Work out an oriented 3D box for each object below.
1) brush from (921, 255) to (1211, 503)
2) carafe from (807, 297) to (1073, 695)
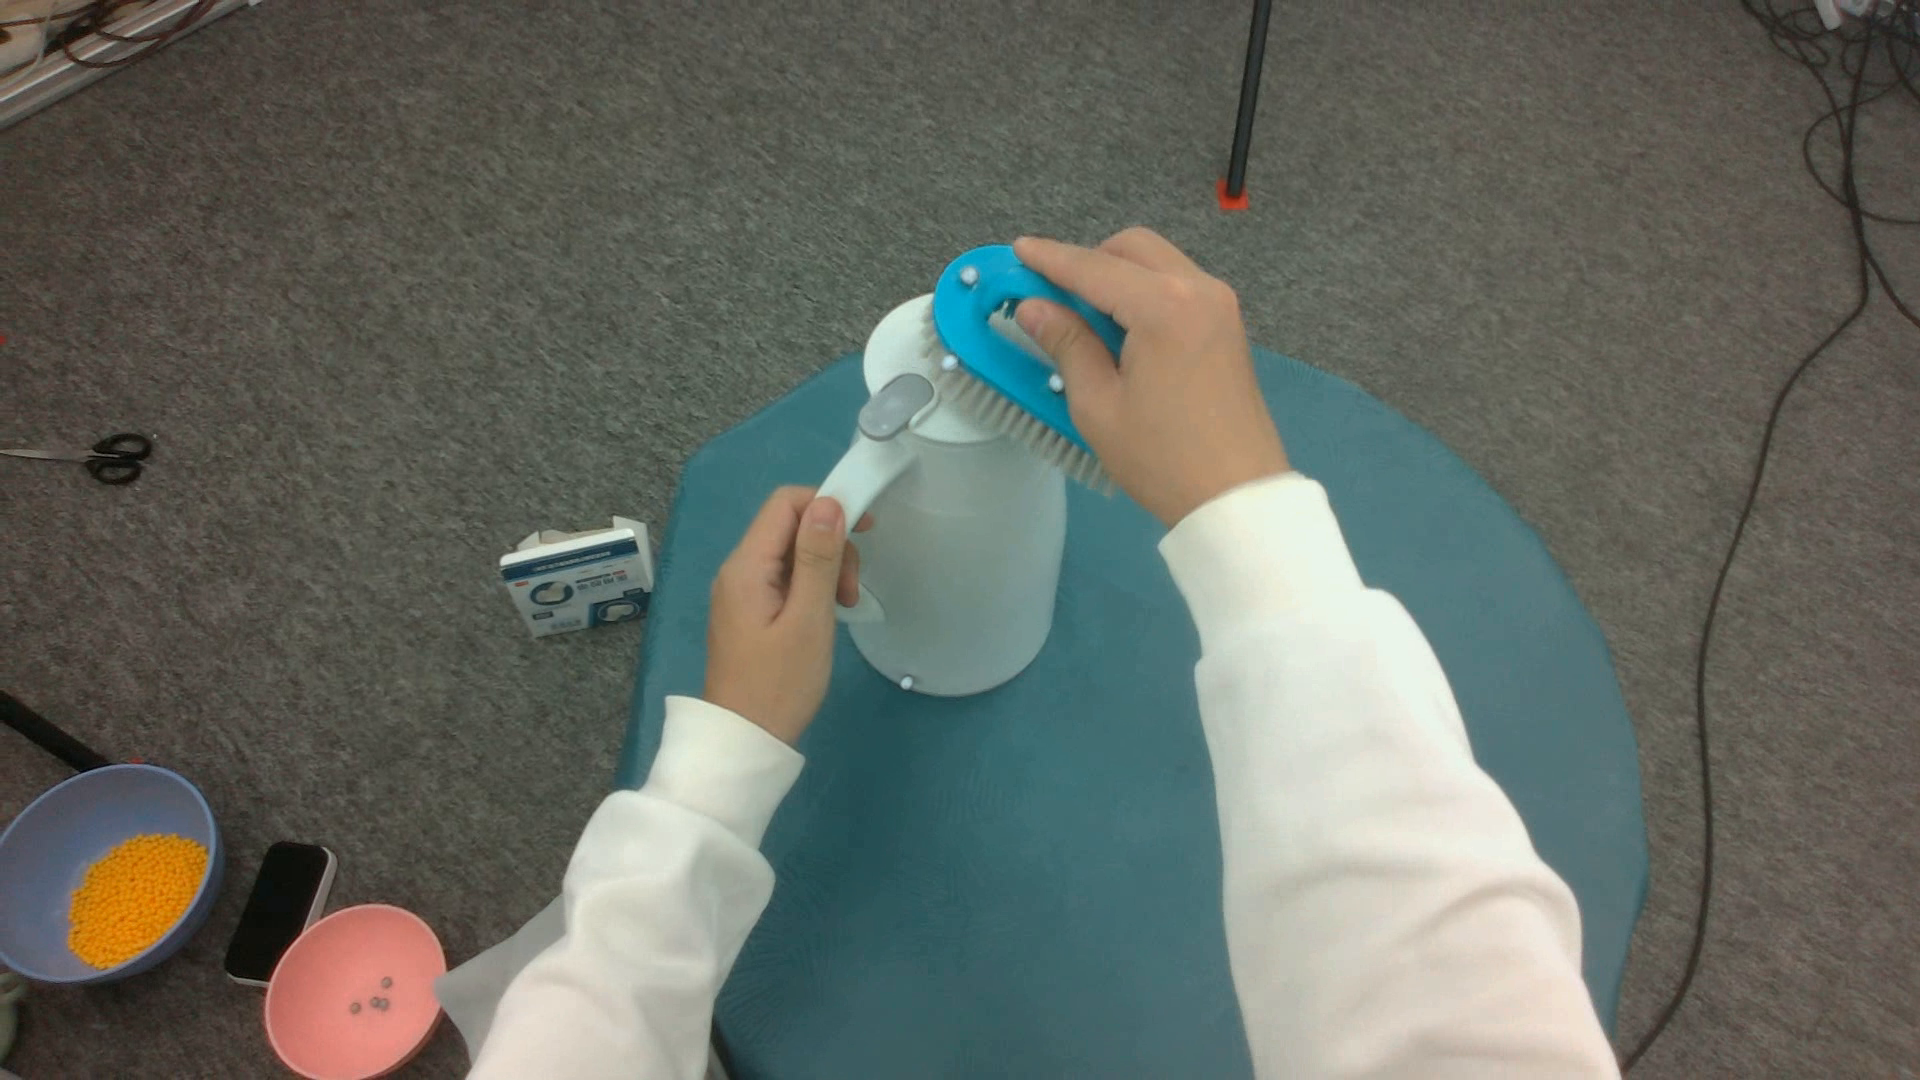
[{"bbox_3d":[0.054,-0.085,0.629,0.142,0.063,0.085,34,59,4],"label":"brush"},{"bbox_3d":[-0.012,-0.012,0.762,0.132,0.247,0.168,40,67,20],"label":"carafe"}]
